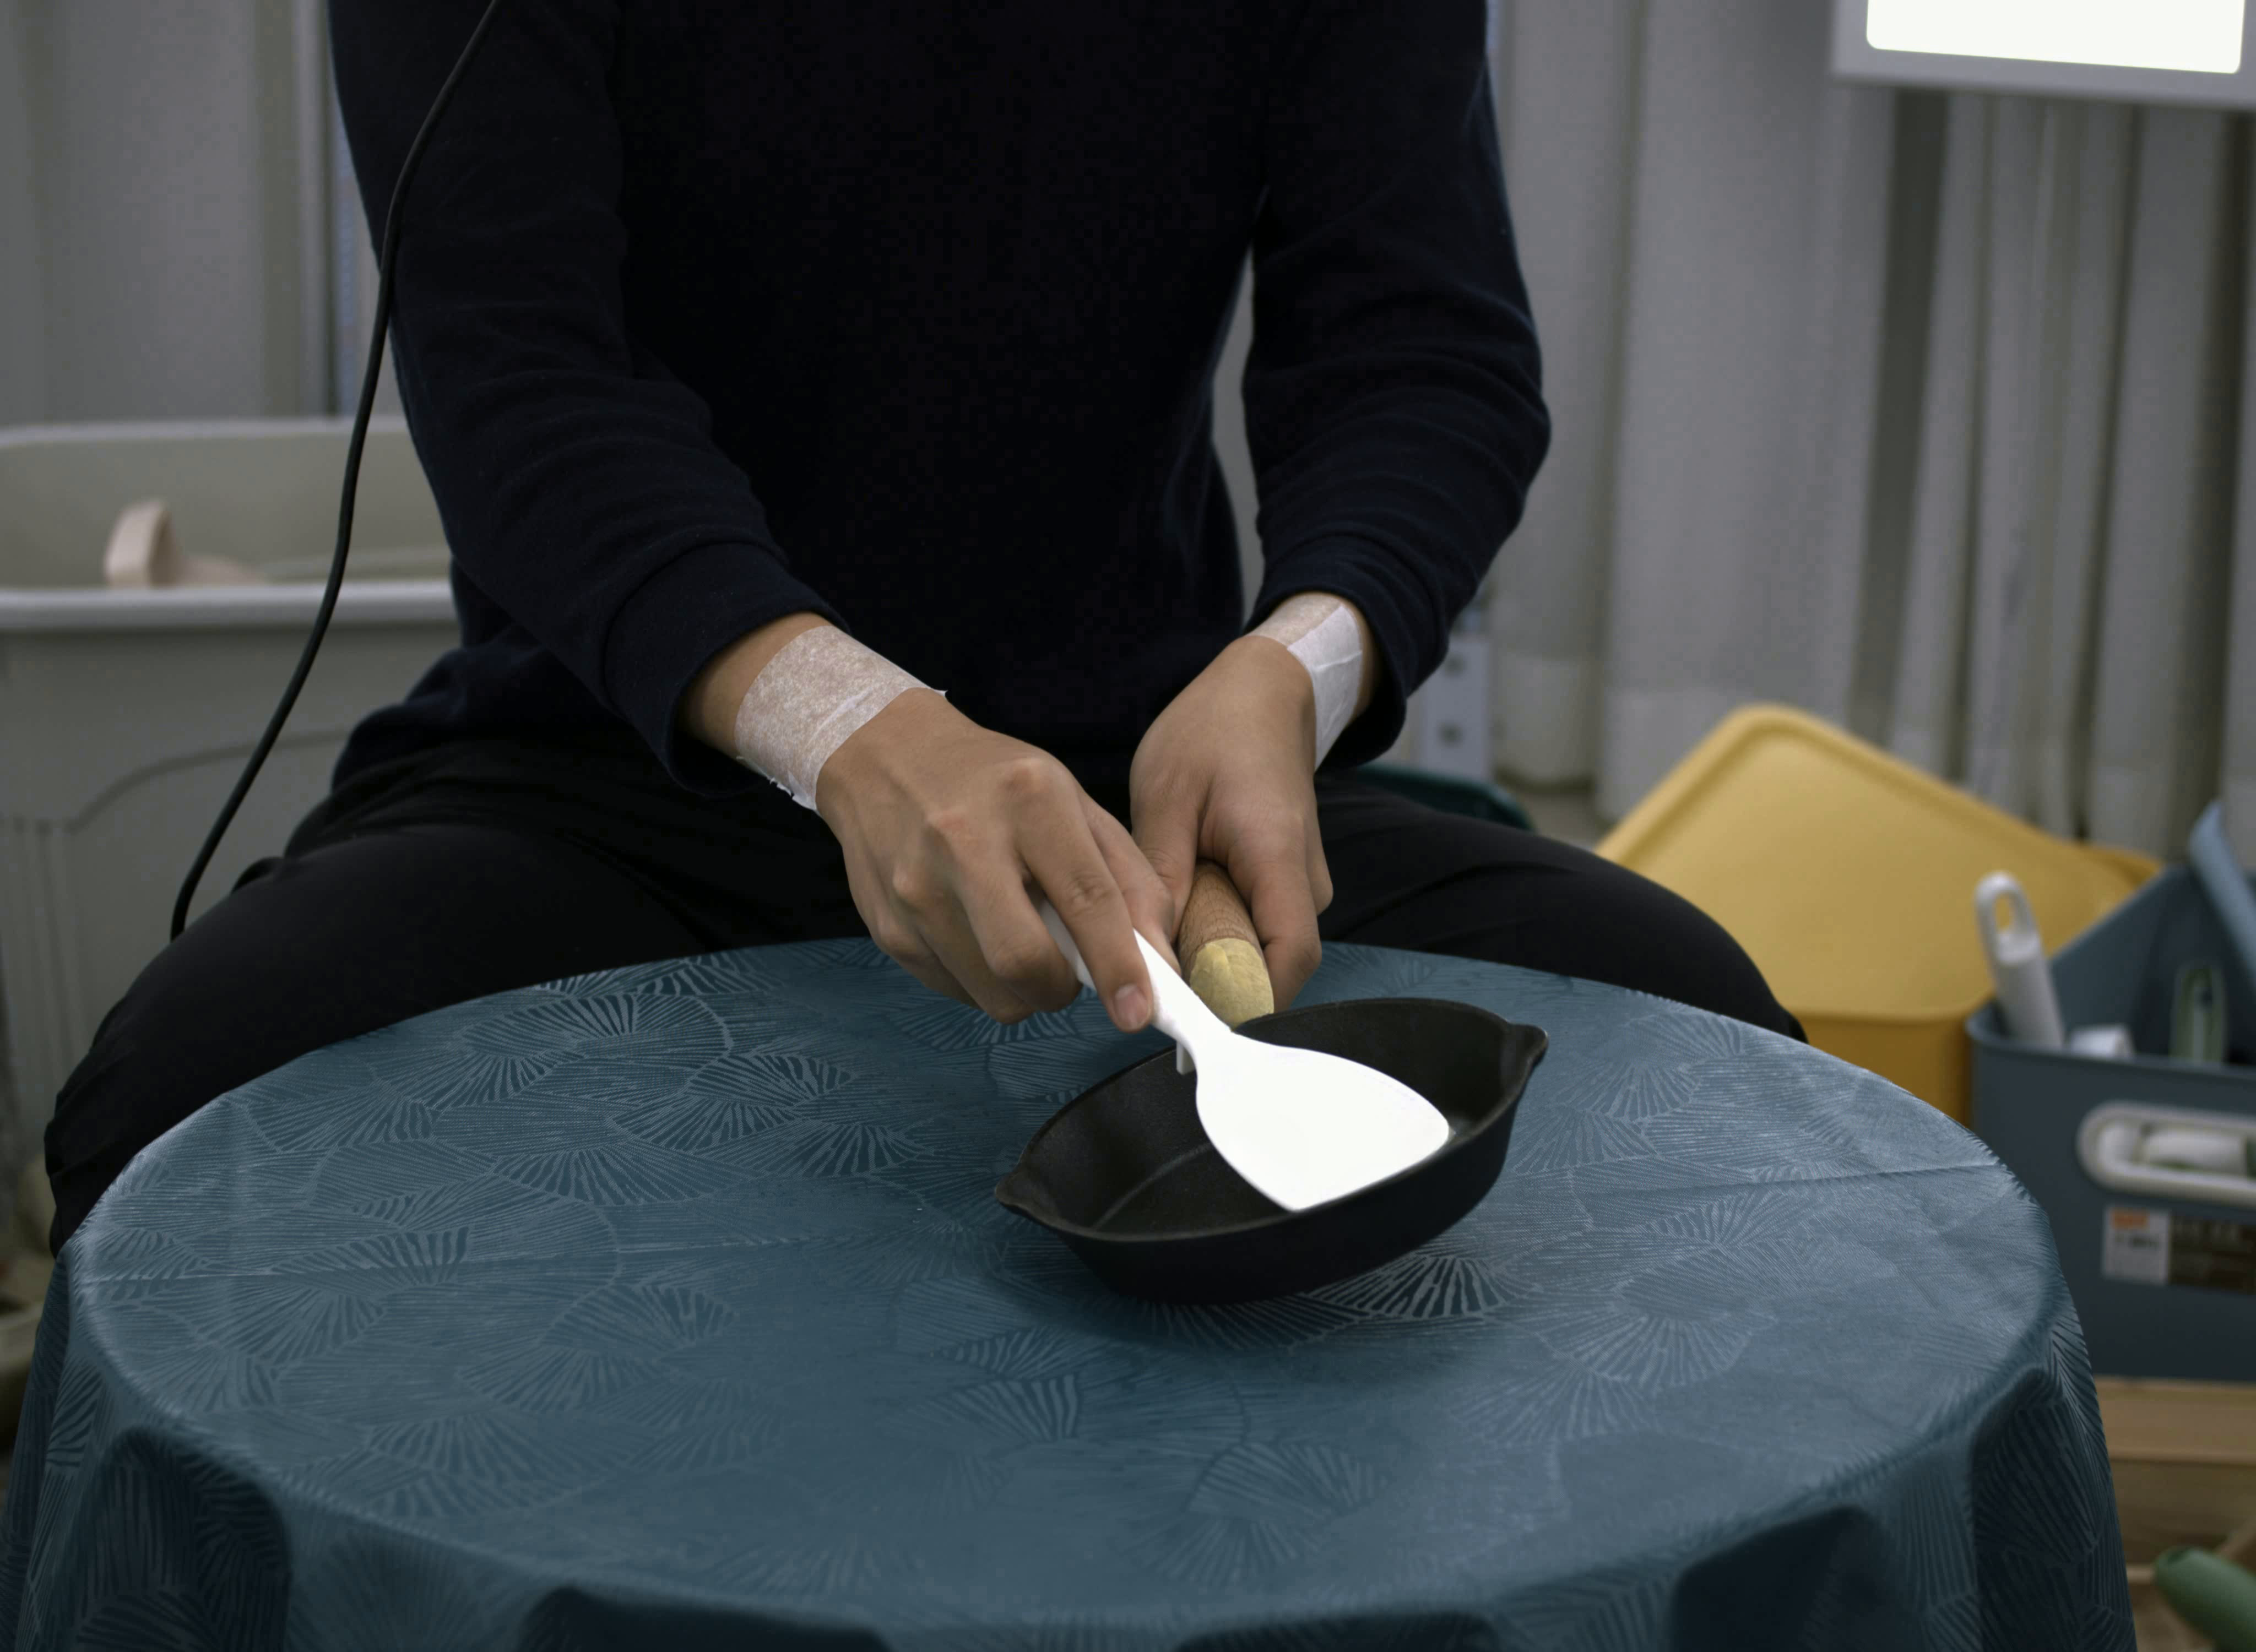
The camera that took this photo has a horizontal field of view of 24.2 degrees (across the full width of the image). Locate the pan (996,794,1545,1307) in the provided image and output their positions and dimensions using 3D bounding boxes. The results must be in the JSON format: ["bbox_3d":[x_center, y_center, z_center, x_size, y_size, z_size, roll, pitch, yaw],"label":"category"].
[{"bbox_3d":[0.038,0.064,1.632,0.168,0.050,0.321,-16,20,2],"label":"pan"}]

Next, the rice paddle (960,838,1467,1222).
[{"bbox_3d":[0.025,0.062,1.575,0.069,0.030,0.202,-24,43,-34],"label":"rice paddle"}]
